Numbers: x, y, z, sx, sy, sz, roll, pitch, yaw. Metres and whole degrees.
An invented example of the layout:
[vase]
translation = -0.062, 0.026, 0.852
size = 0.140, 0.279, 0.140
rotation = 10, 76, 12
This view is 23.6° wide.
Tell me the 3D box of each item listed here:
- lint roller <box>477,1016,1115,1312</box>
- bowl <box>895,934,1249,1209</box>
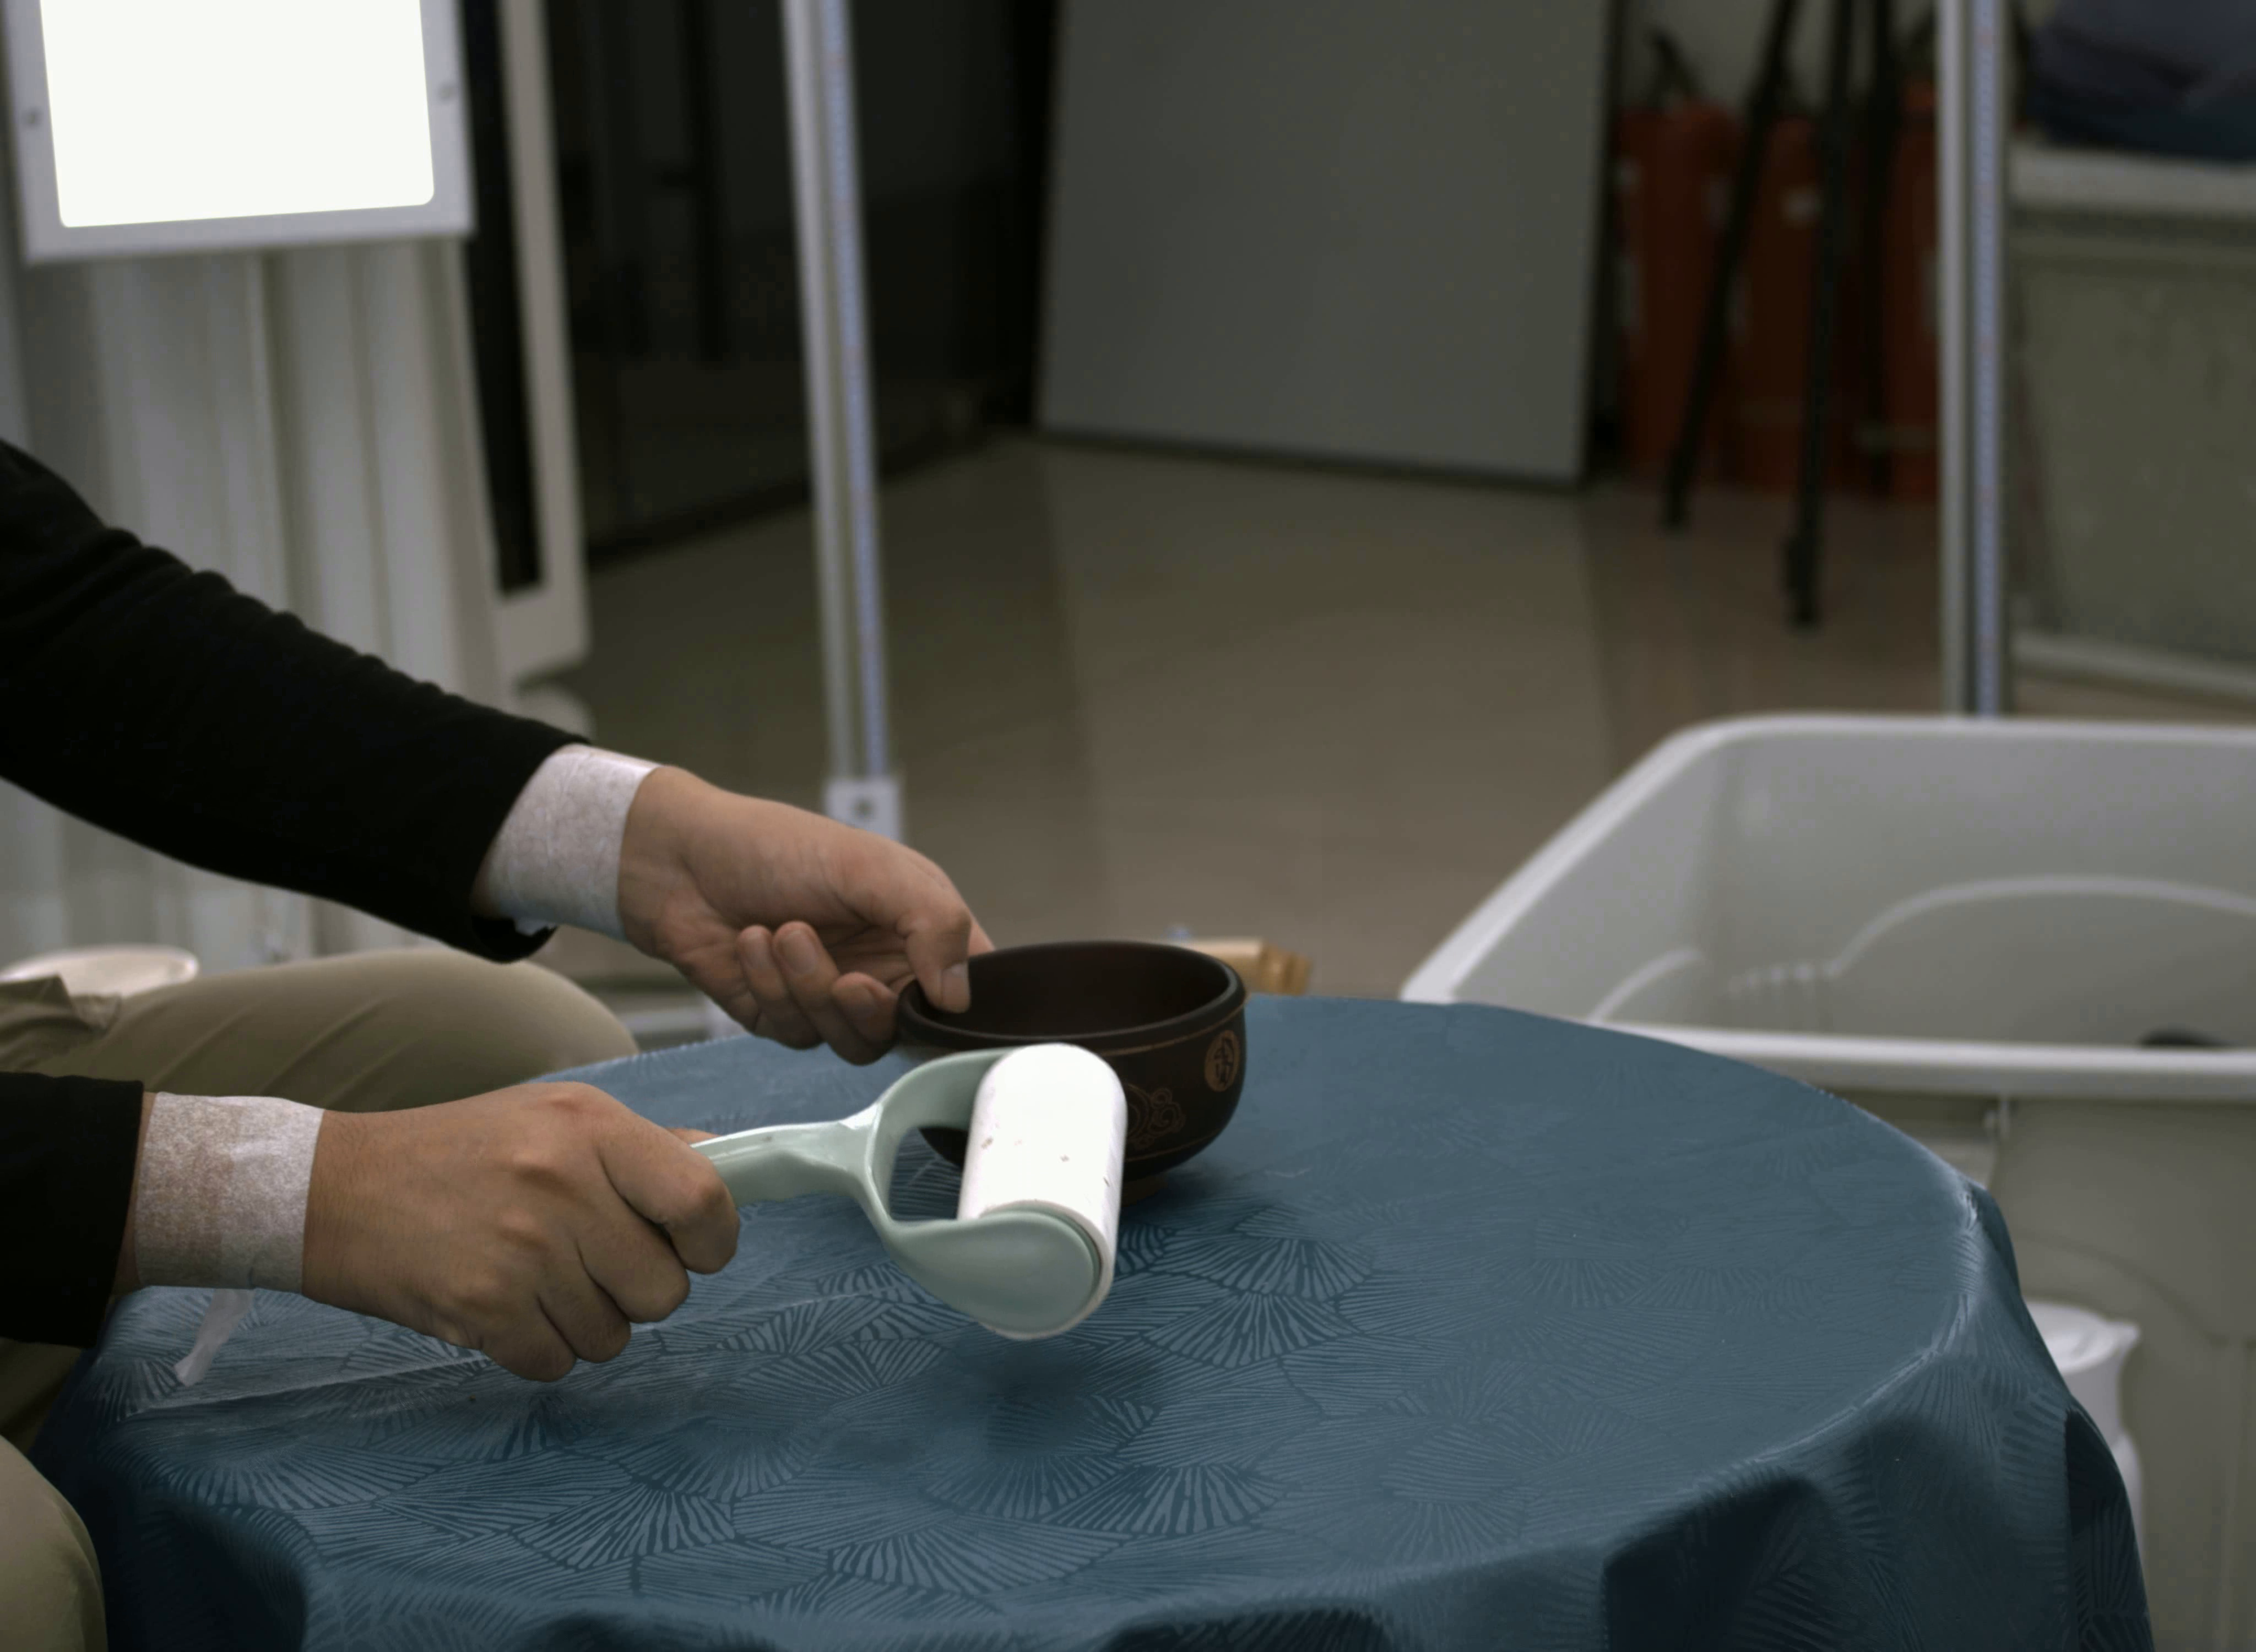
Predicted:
[lint roller]
translation = -0.099, 0.108, 1.606
size = 0.196, 0.049, 0.117
rotation = -6, 25, 6
[bowl]
translation = -0.017, 0.085, 1.771
size = 0.116, 0.070, 0.118
rotation = -5, 14, 0
